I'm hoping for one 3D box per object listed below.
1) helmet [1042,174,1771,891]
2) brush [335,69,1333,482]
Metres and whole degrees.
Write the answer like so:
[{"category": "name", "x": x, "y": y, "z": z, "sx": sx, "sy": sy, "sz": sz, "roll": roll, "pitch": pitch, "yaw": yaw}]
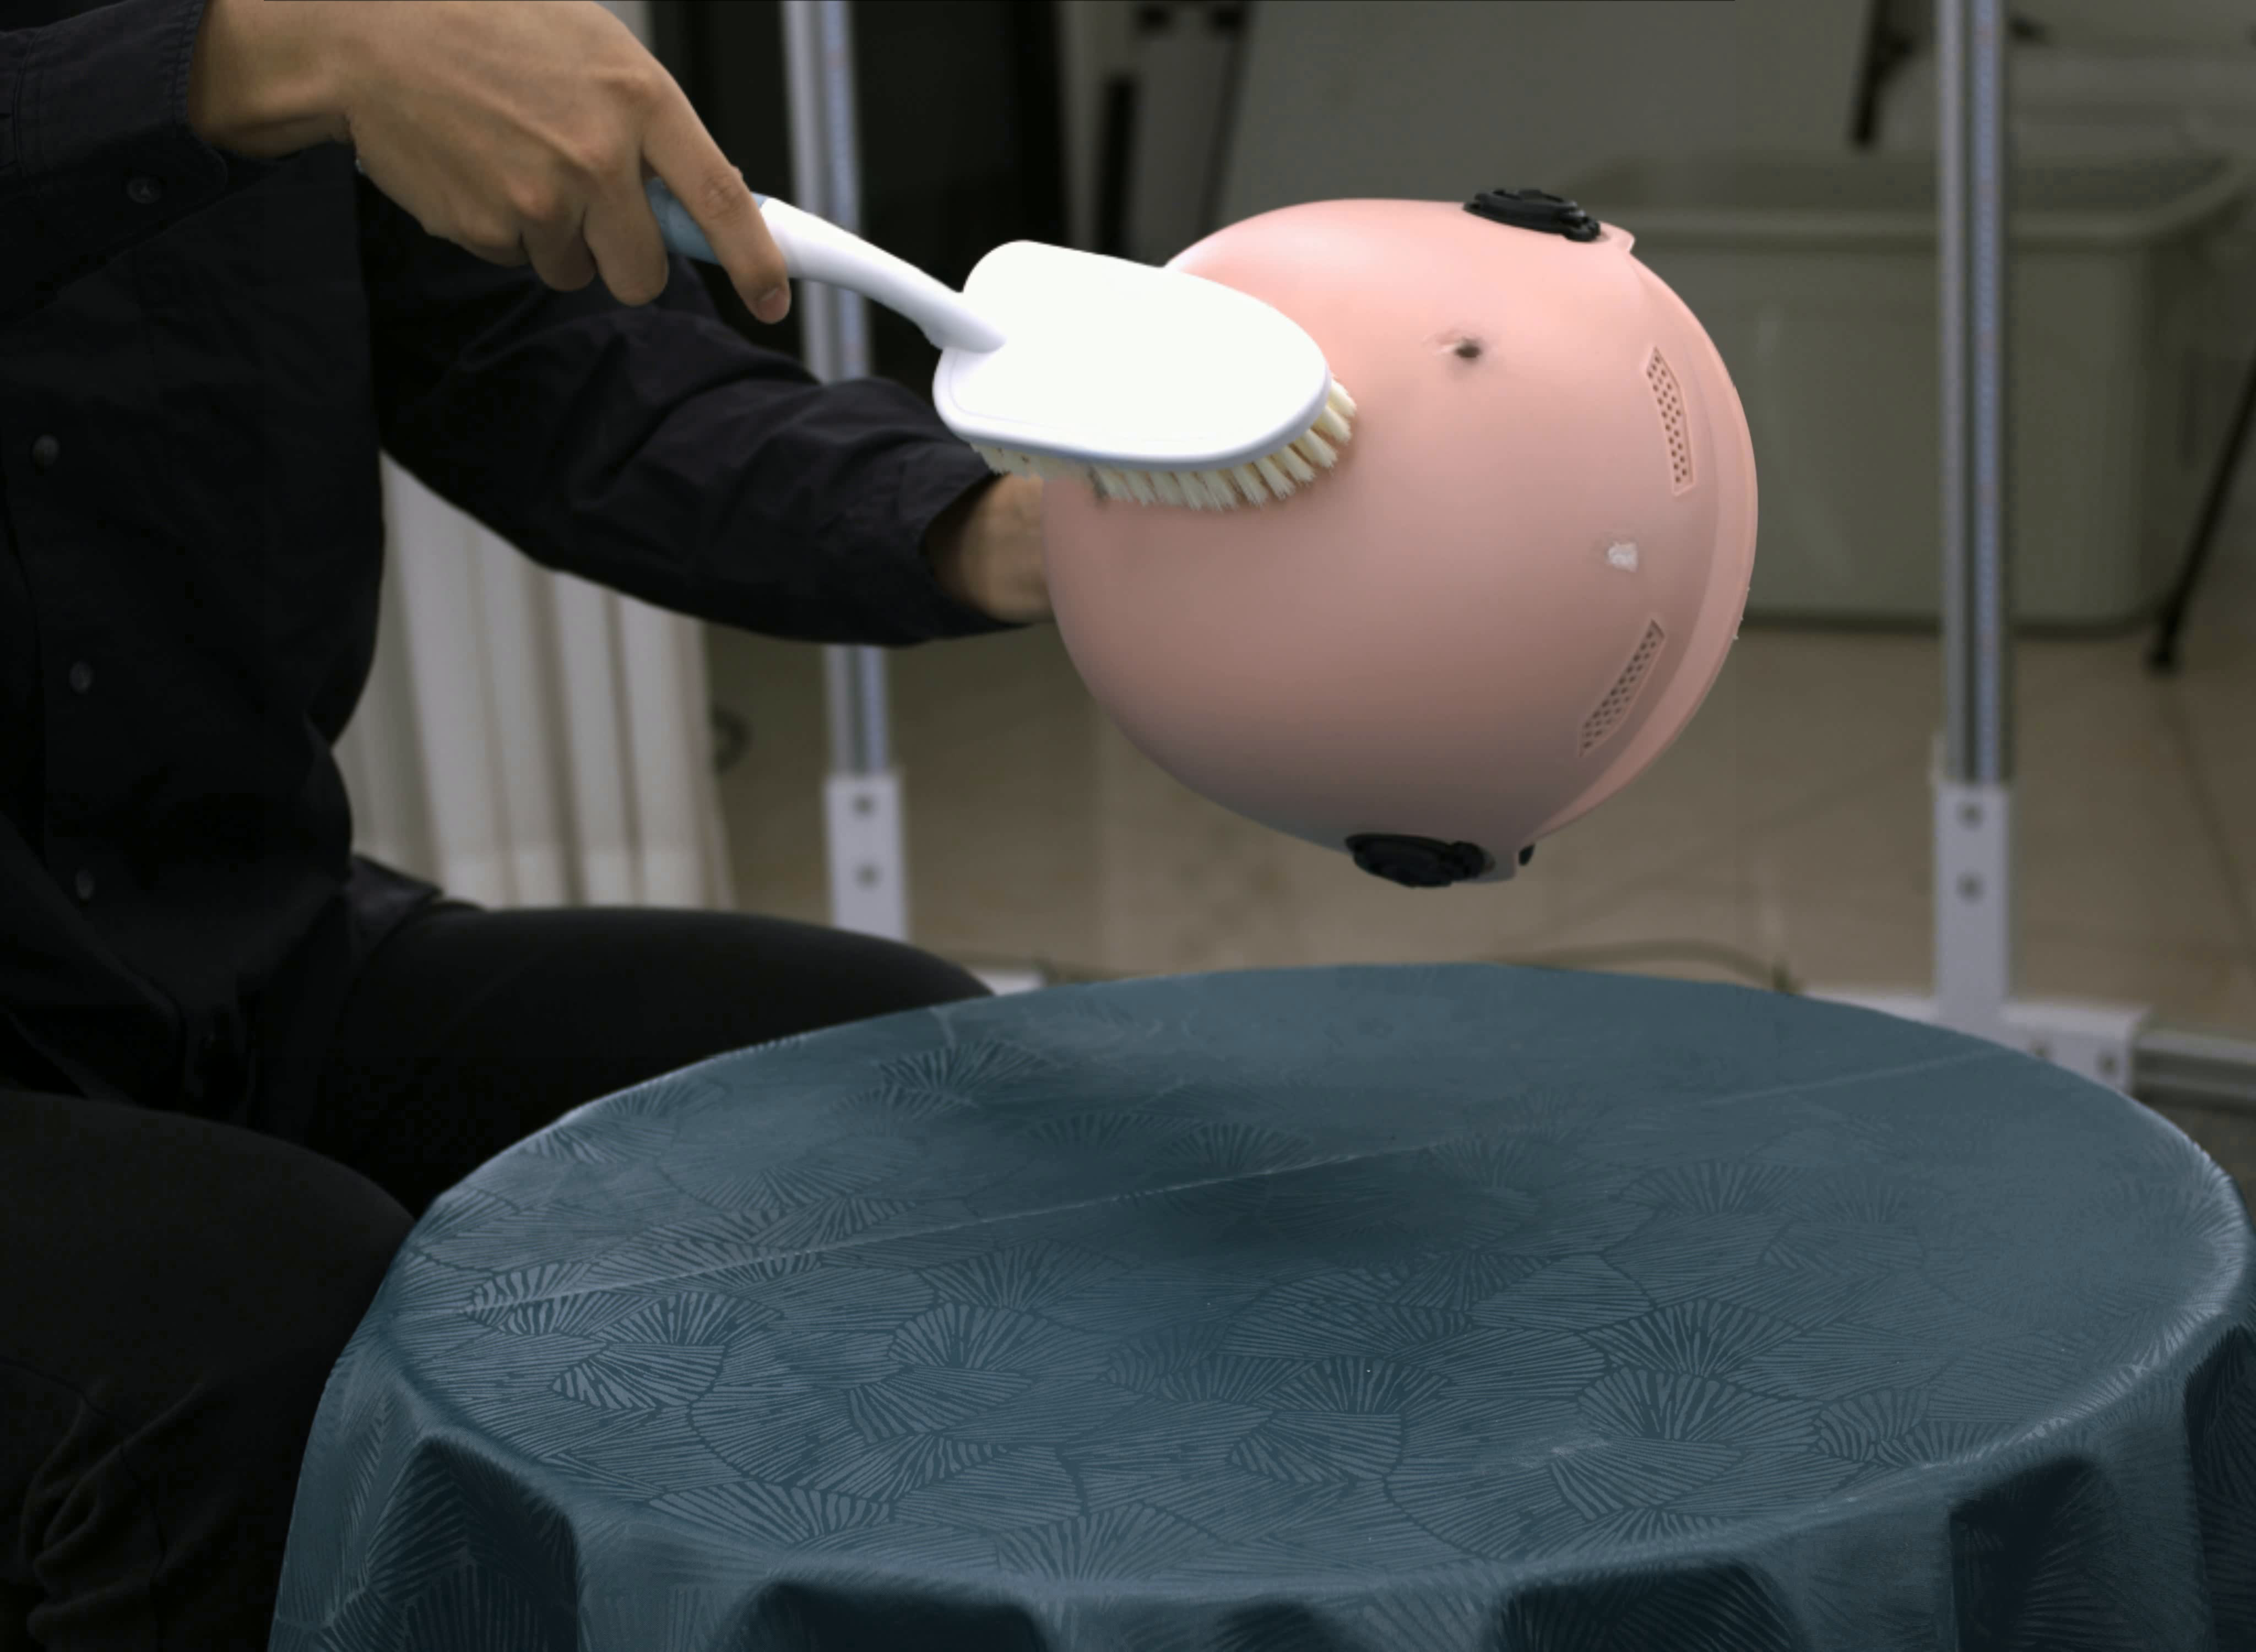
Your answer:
[{"category": "helmet", "x": 0.069, "y": -0.105, "z": 1.752, "sx": 0.155, "sy": 0.237, "sz": 0.269, "roll": 13, "pitch": -3, "yaw": -36}, {"category": "brush", "x": -0.090, "y": -0.176, "z": 1.695, "sx": 0.323, "sy": 0.085, "sz": 0.083, "roll": 16, "pitch": 39, "yaw": 10}]
